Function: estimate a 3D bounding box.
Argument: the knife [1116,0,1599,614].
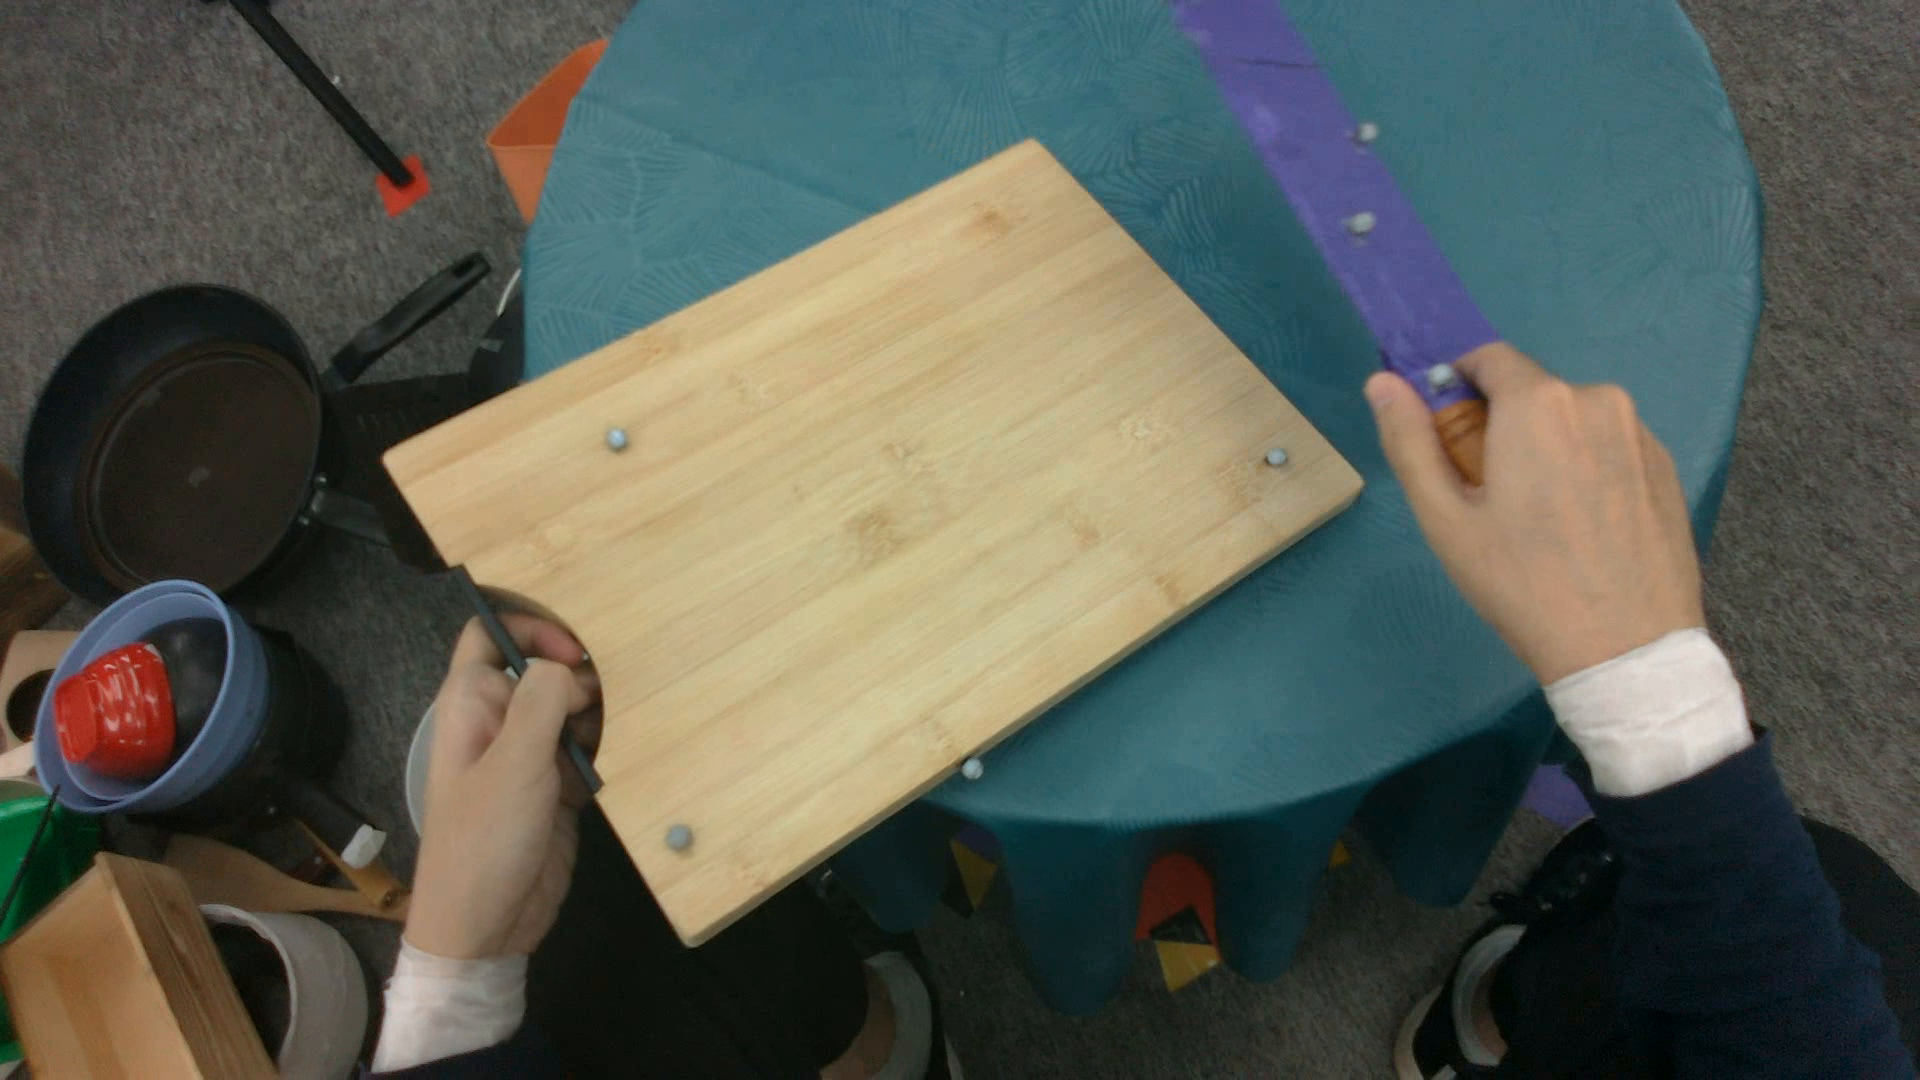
[{"bbox_3d":[0.162,-0.119,0.549,0.104,0.032,0.315,-17,72,-43],"label":"knife"}]

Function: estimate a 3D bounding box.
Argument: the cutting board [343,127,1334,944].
[{"bbox_3d":[-0.042,-0.029,0.588,0.350,0.023,0.251,-32,69,-21],"label":"cutting board"}]
